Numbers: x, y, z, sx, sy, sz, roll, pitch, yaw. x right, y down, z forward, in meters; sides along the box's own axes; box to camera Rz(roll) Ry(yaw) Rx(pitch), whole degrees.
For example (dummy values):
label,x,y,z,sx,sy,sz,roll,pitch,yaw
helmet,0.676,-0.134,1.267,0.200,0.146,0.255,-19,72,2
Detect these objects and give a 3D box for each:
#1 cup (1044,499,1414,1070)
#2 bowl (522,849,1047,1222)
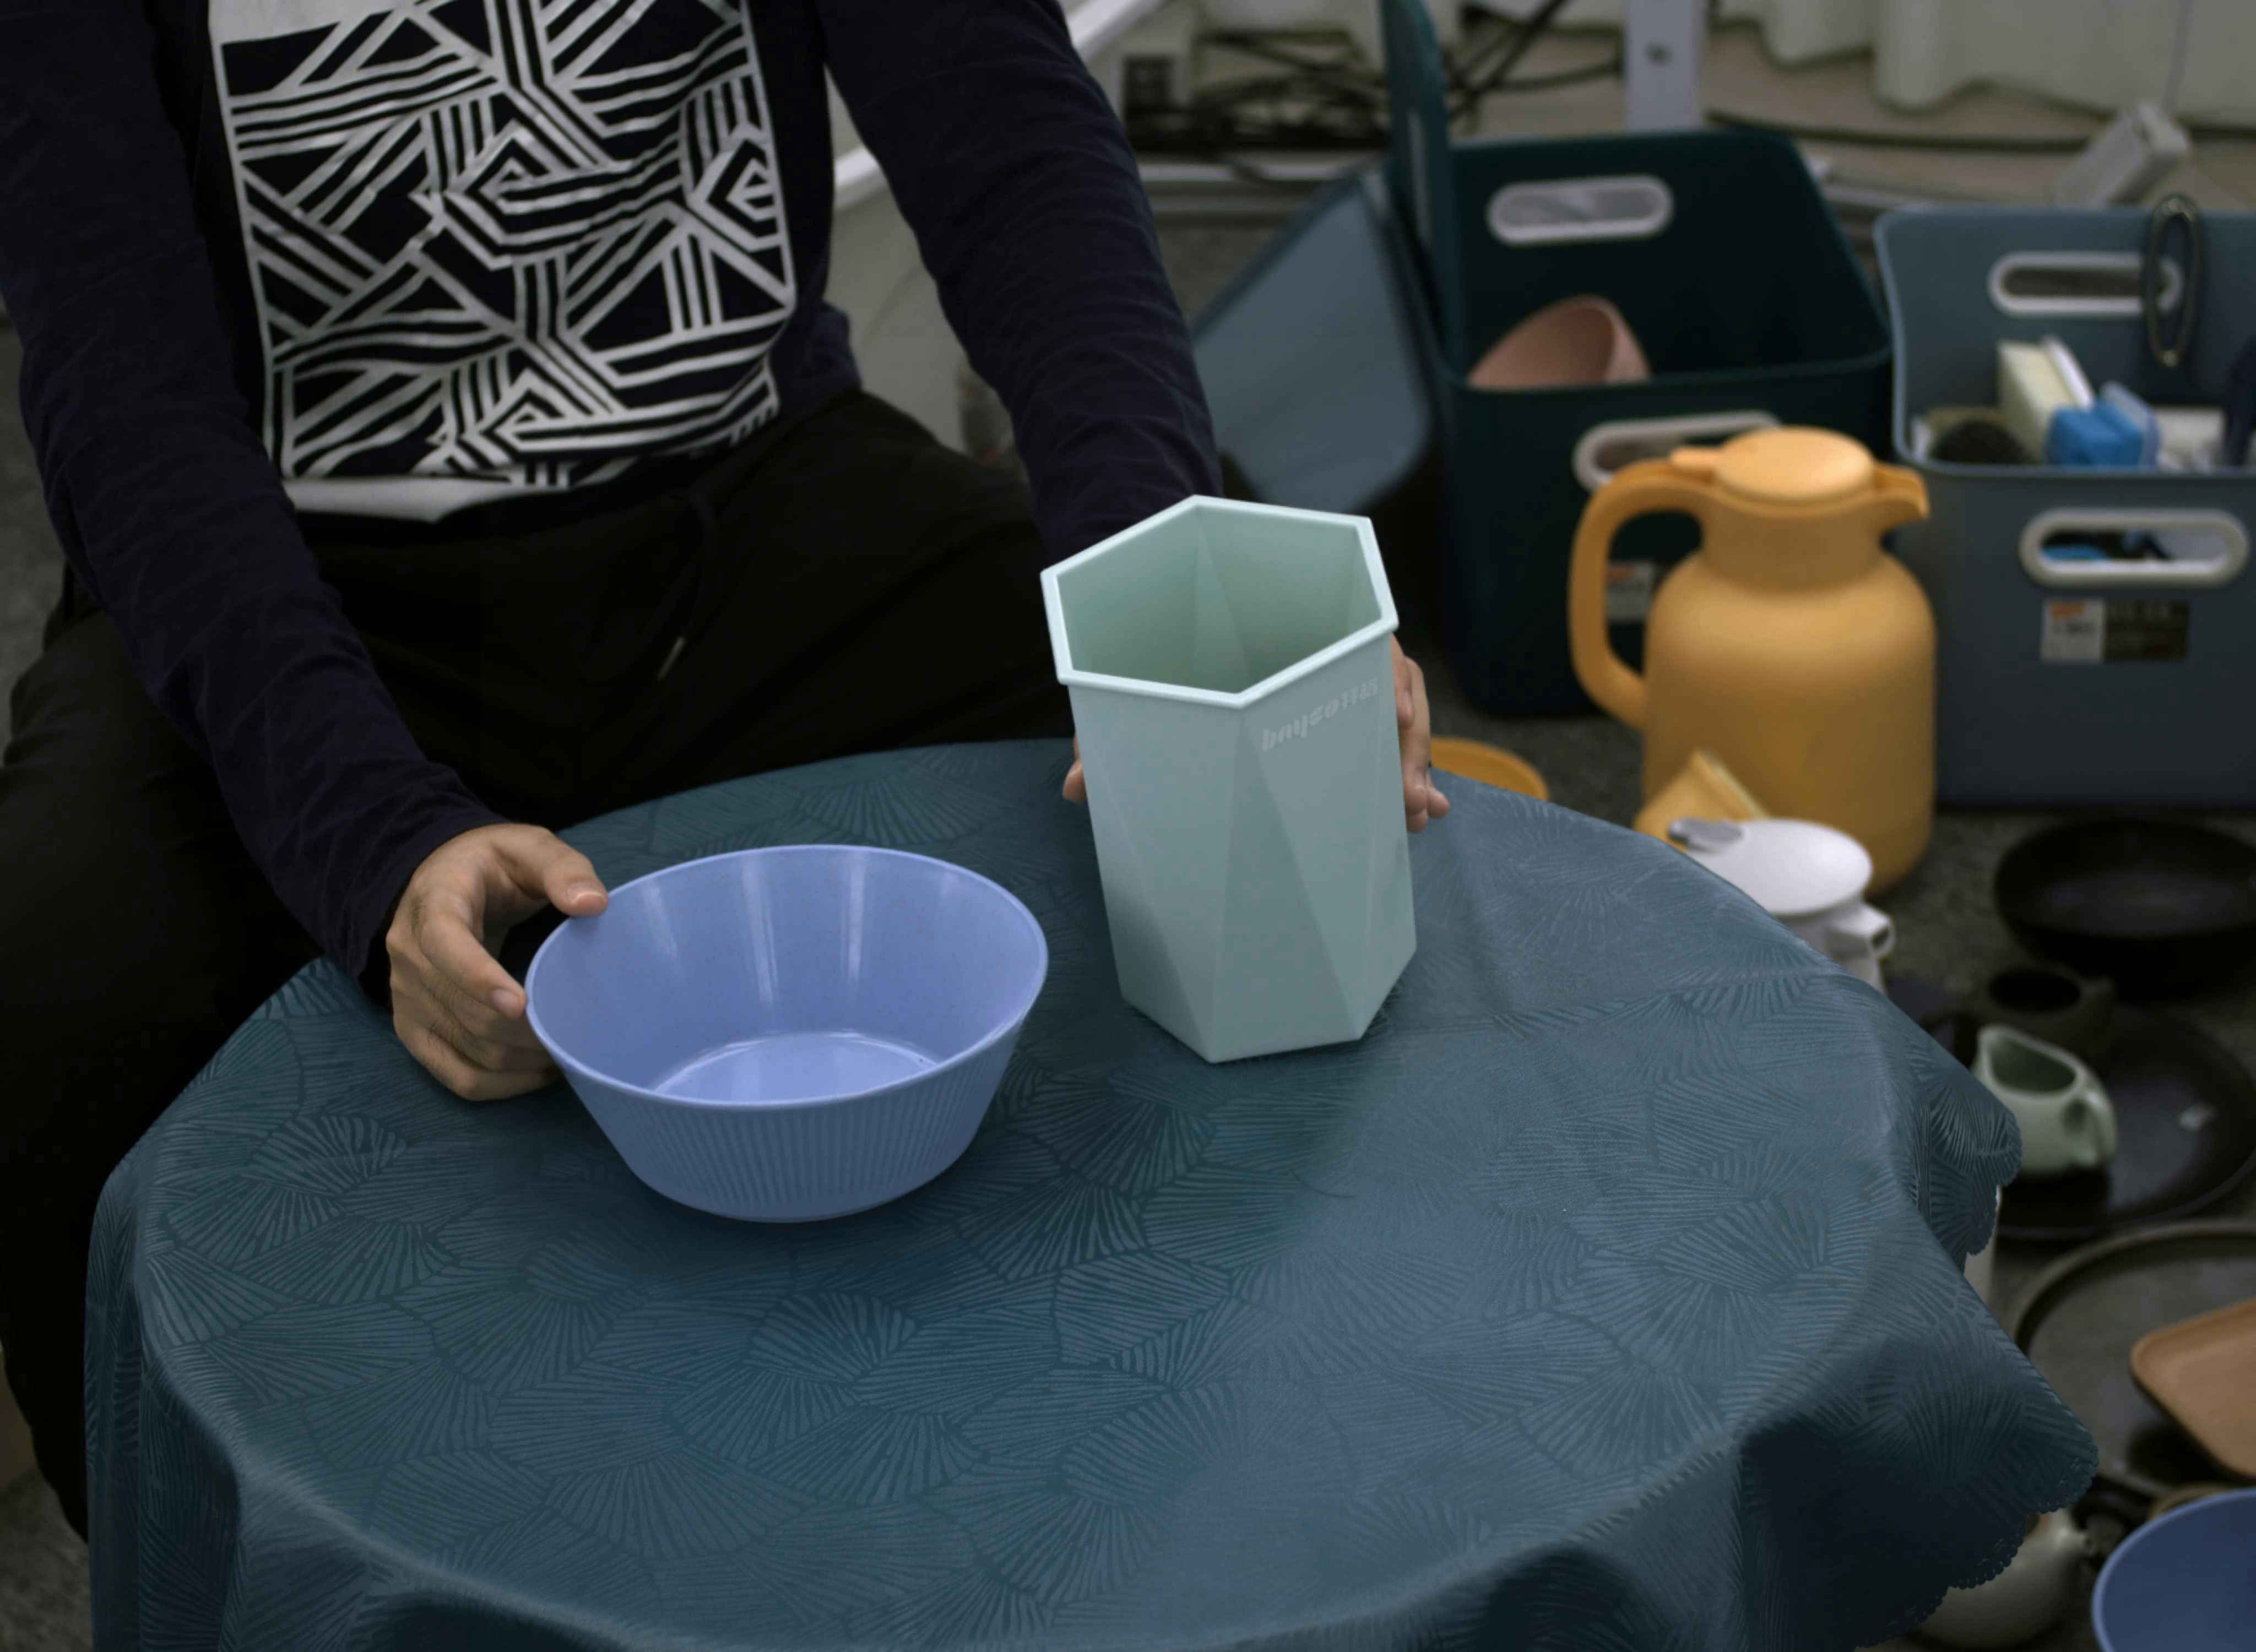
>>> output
label,x,y,z,sx,sy,sz,roll,pitch,yaw
cup,0.041,-0.011,1.922,0.132,0.161,0.115,-28,36,-29
bowl,-0.113,0.076,1.883,0.175,0.069,0.179,-2,27,1
